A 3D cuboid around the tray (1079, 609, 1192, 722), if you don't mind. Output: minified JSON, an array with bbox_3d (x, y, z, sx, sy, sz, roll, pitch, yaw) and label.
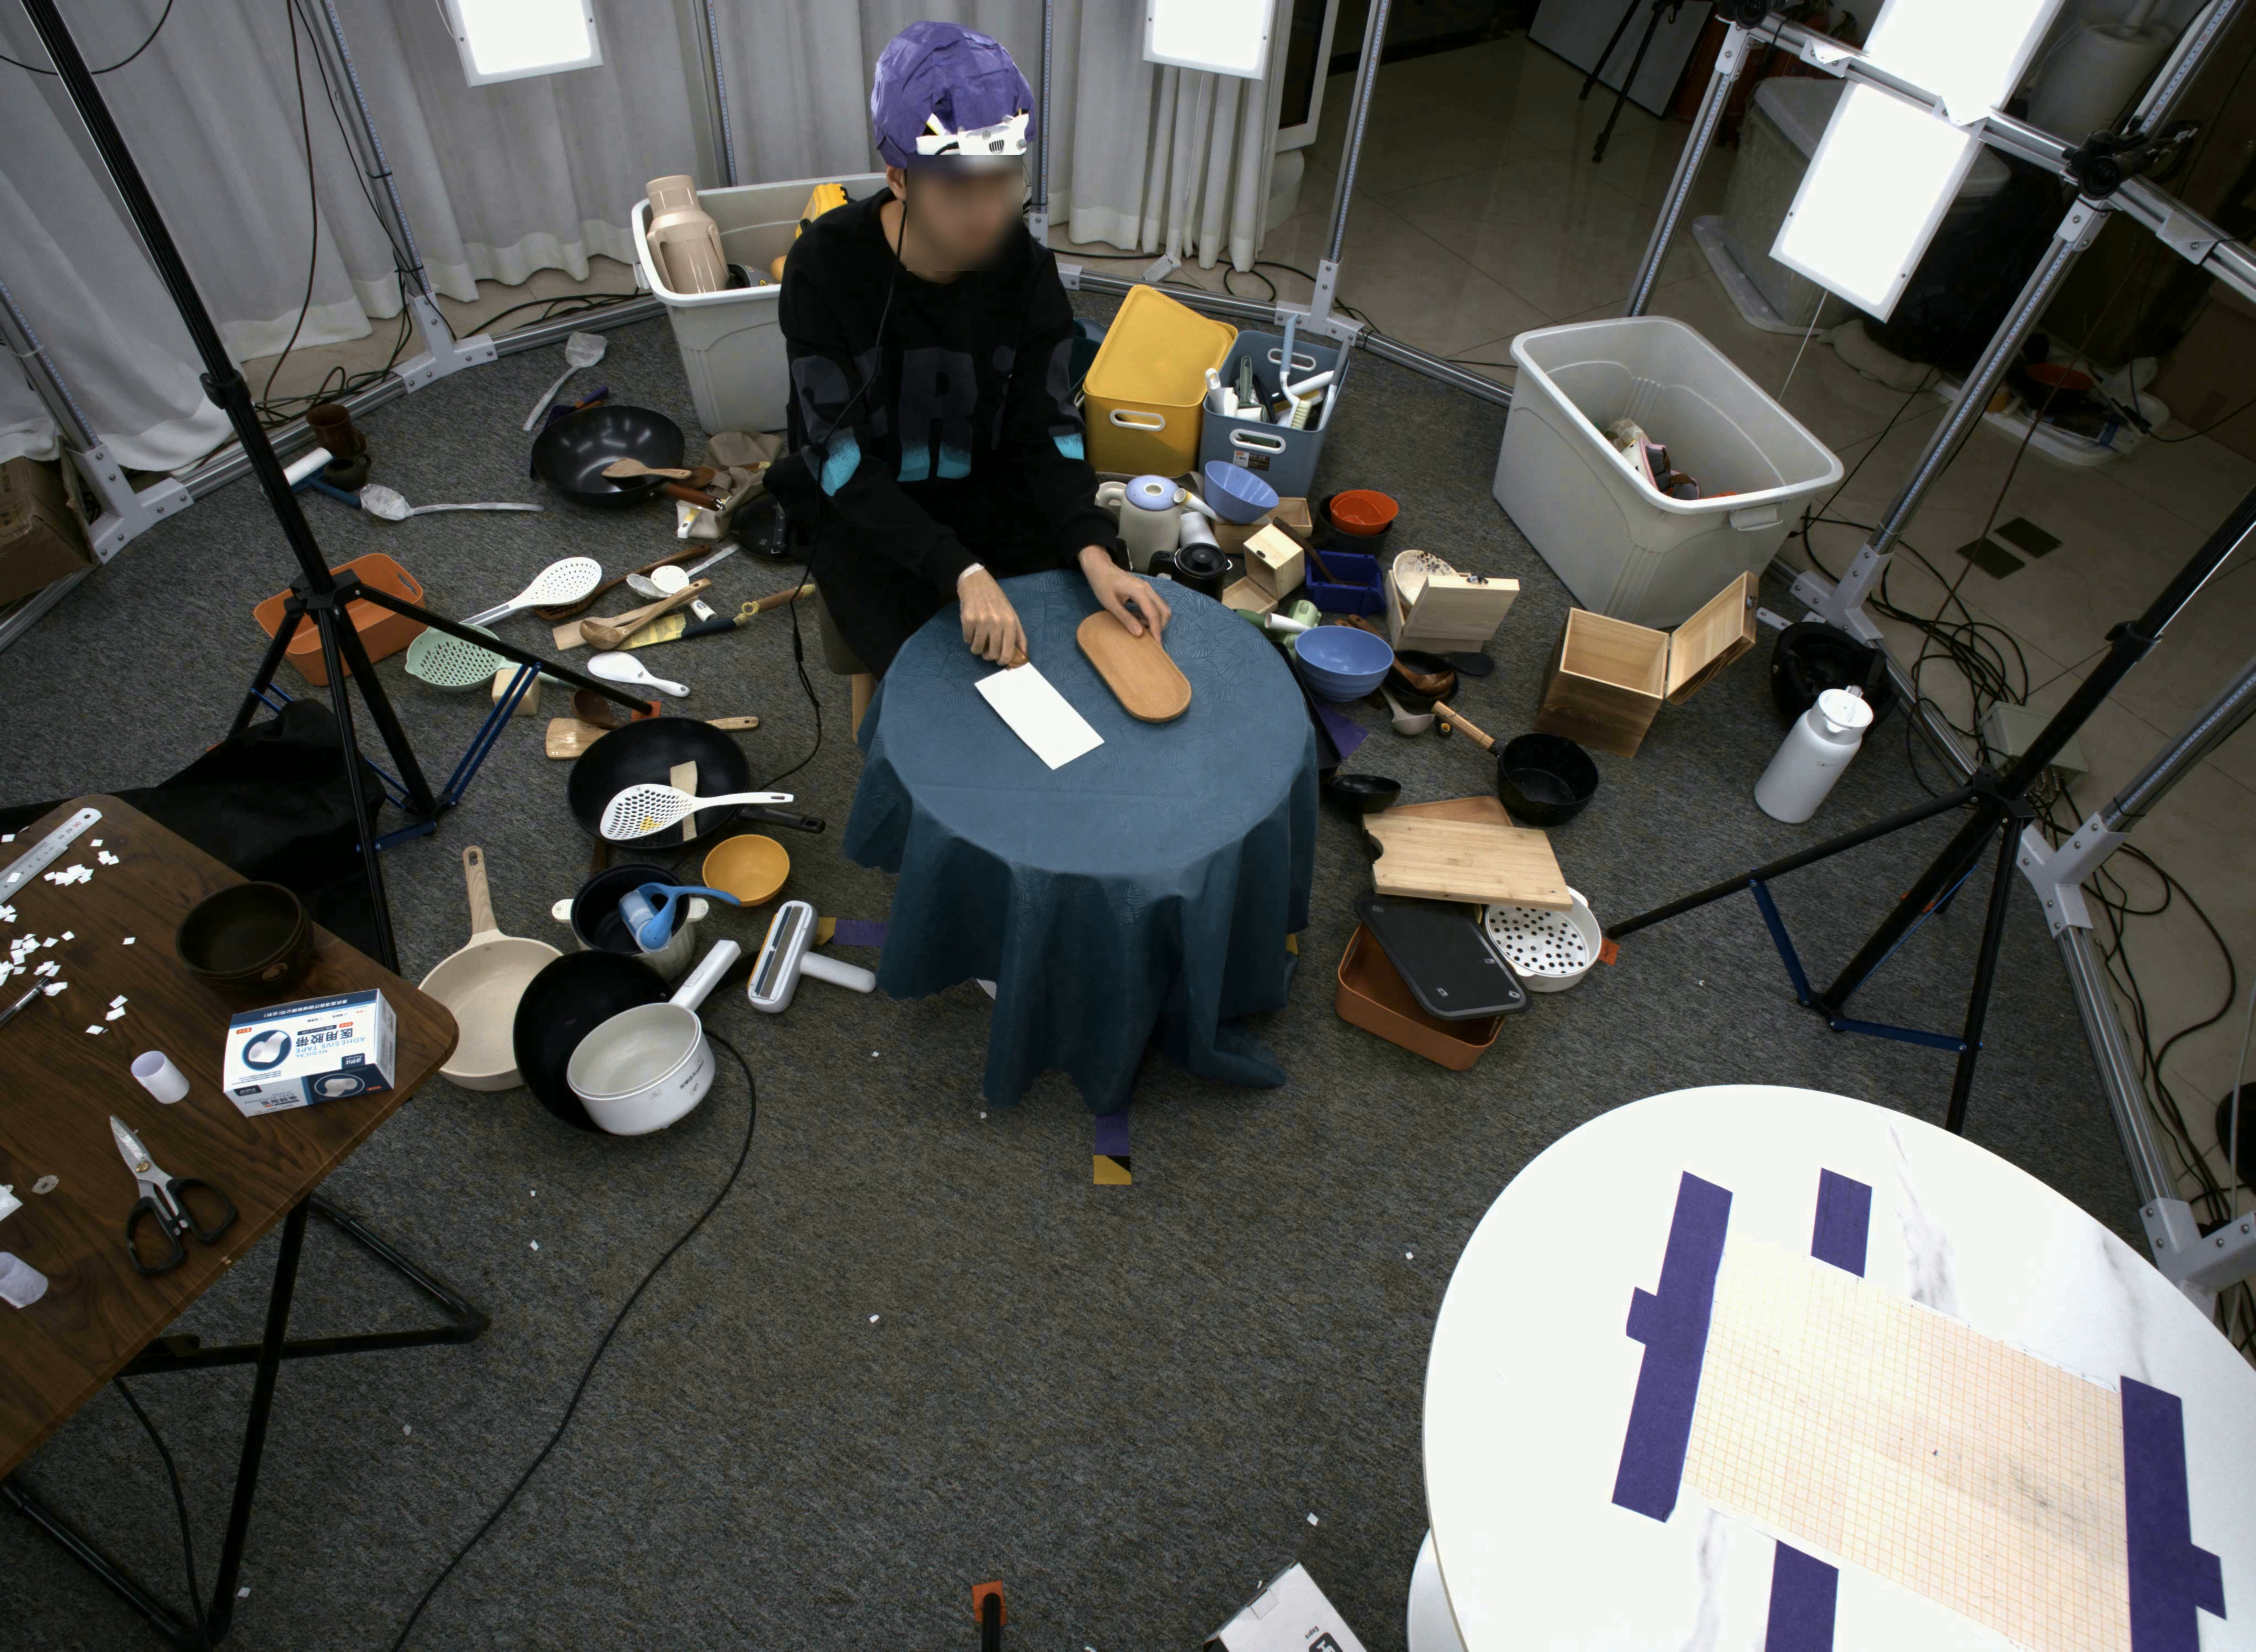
[{"bbox_3d":[0.010,-0.234,1.858,0.102,0.020,0.236,-22,54,-17],"label":"tray"}]

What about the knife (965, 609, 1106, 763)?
[{"bbox_3d":[-0.155,-0.198,1.815,0.093,0.020,0.311,-29,61,-24],"label":"knife"}]
